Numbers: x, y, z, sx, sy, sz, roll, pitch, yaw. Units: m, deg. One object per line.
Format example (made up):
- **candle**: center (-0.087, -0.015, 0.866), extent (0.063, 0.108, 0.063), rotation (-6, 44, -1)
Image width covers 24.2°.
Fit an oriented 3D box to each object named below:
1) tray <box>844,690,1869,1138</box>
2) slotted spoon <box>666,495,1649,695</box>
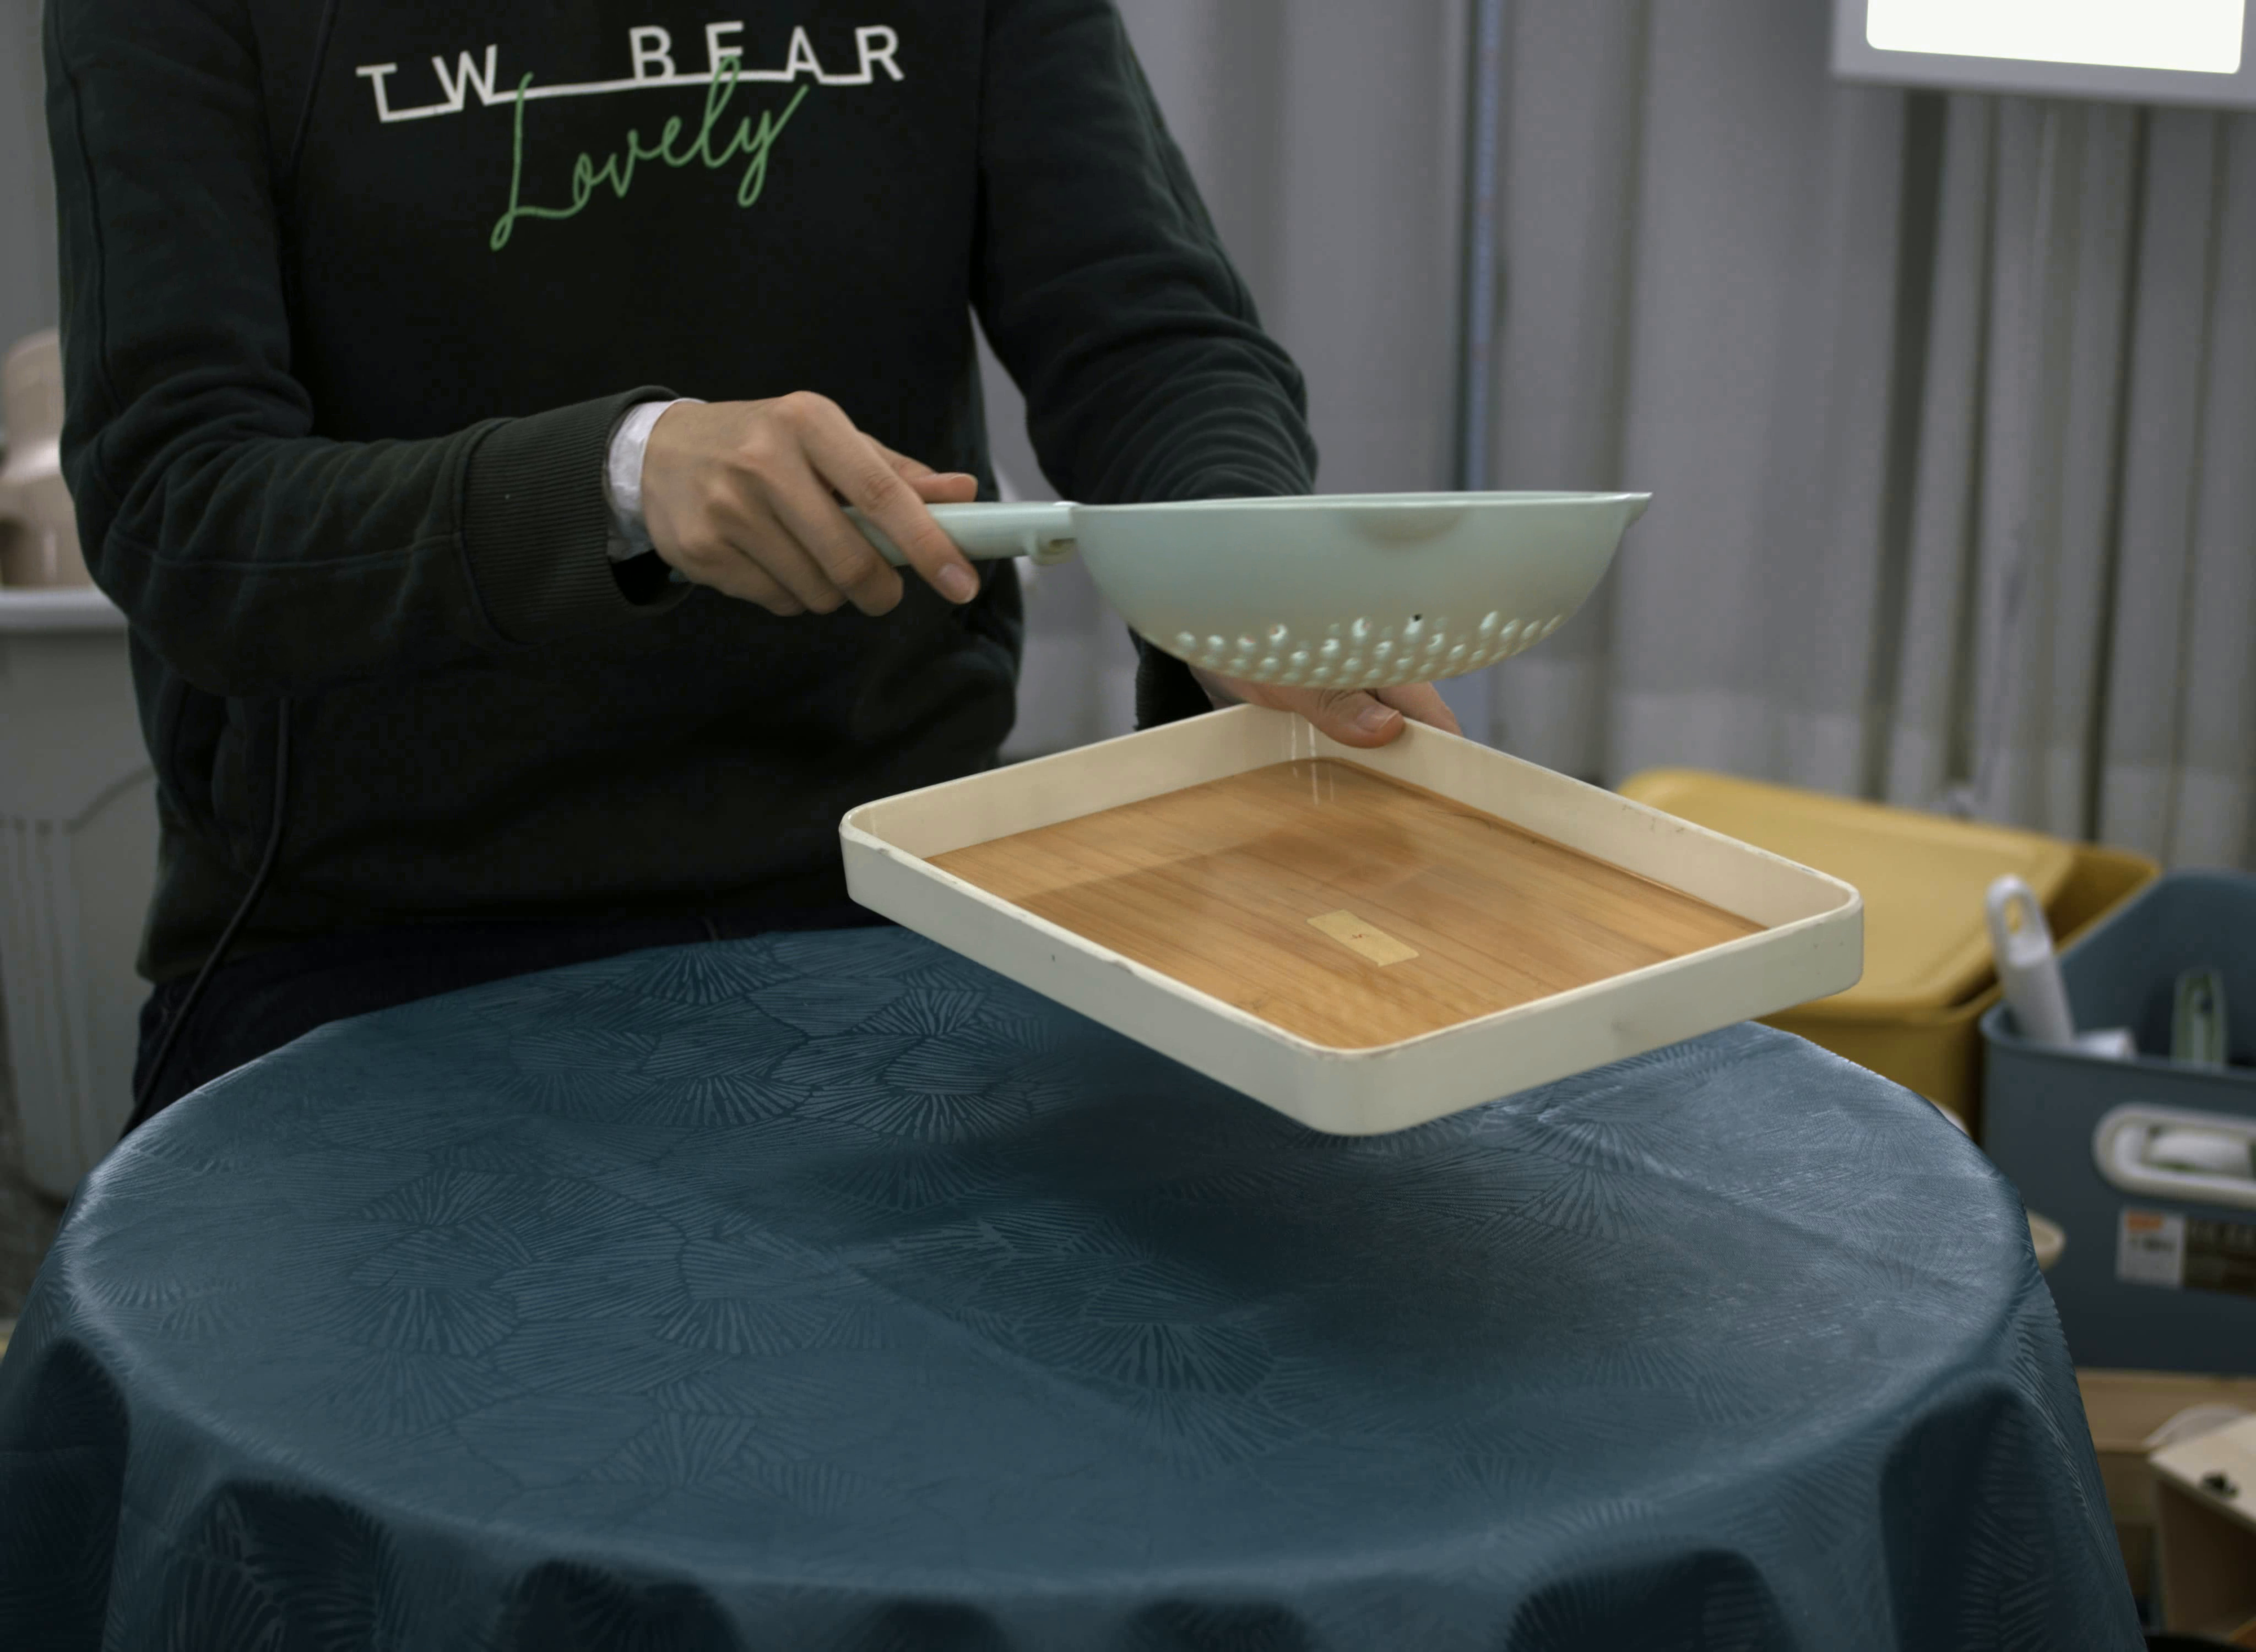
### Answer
- **tray**: center (0.062, 0.021, 1.585), extent (0.192, 0.027, 0.296), rotation (-15, 22, -29)
- **slotted spoon**: center (-0.010, -0.088, 1.655), extent (0.354, 0.076, 0.170), rotation (12, 11, 36)
